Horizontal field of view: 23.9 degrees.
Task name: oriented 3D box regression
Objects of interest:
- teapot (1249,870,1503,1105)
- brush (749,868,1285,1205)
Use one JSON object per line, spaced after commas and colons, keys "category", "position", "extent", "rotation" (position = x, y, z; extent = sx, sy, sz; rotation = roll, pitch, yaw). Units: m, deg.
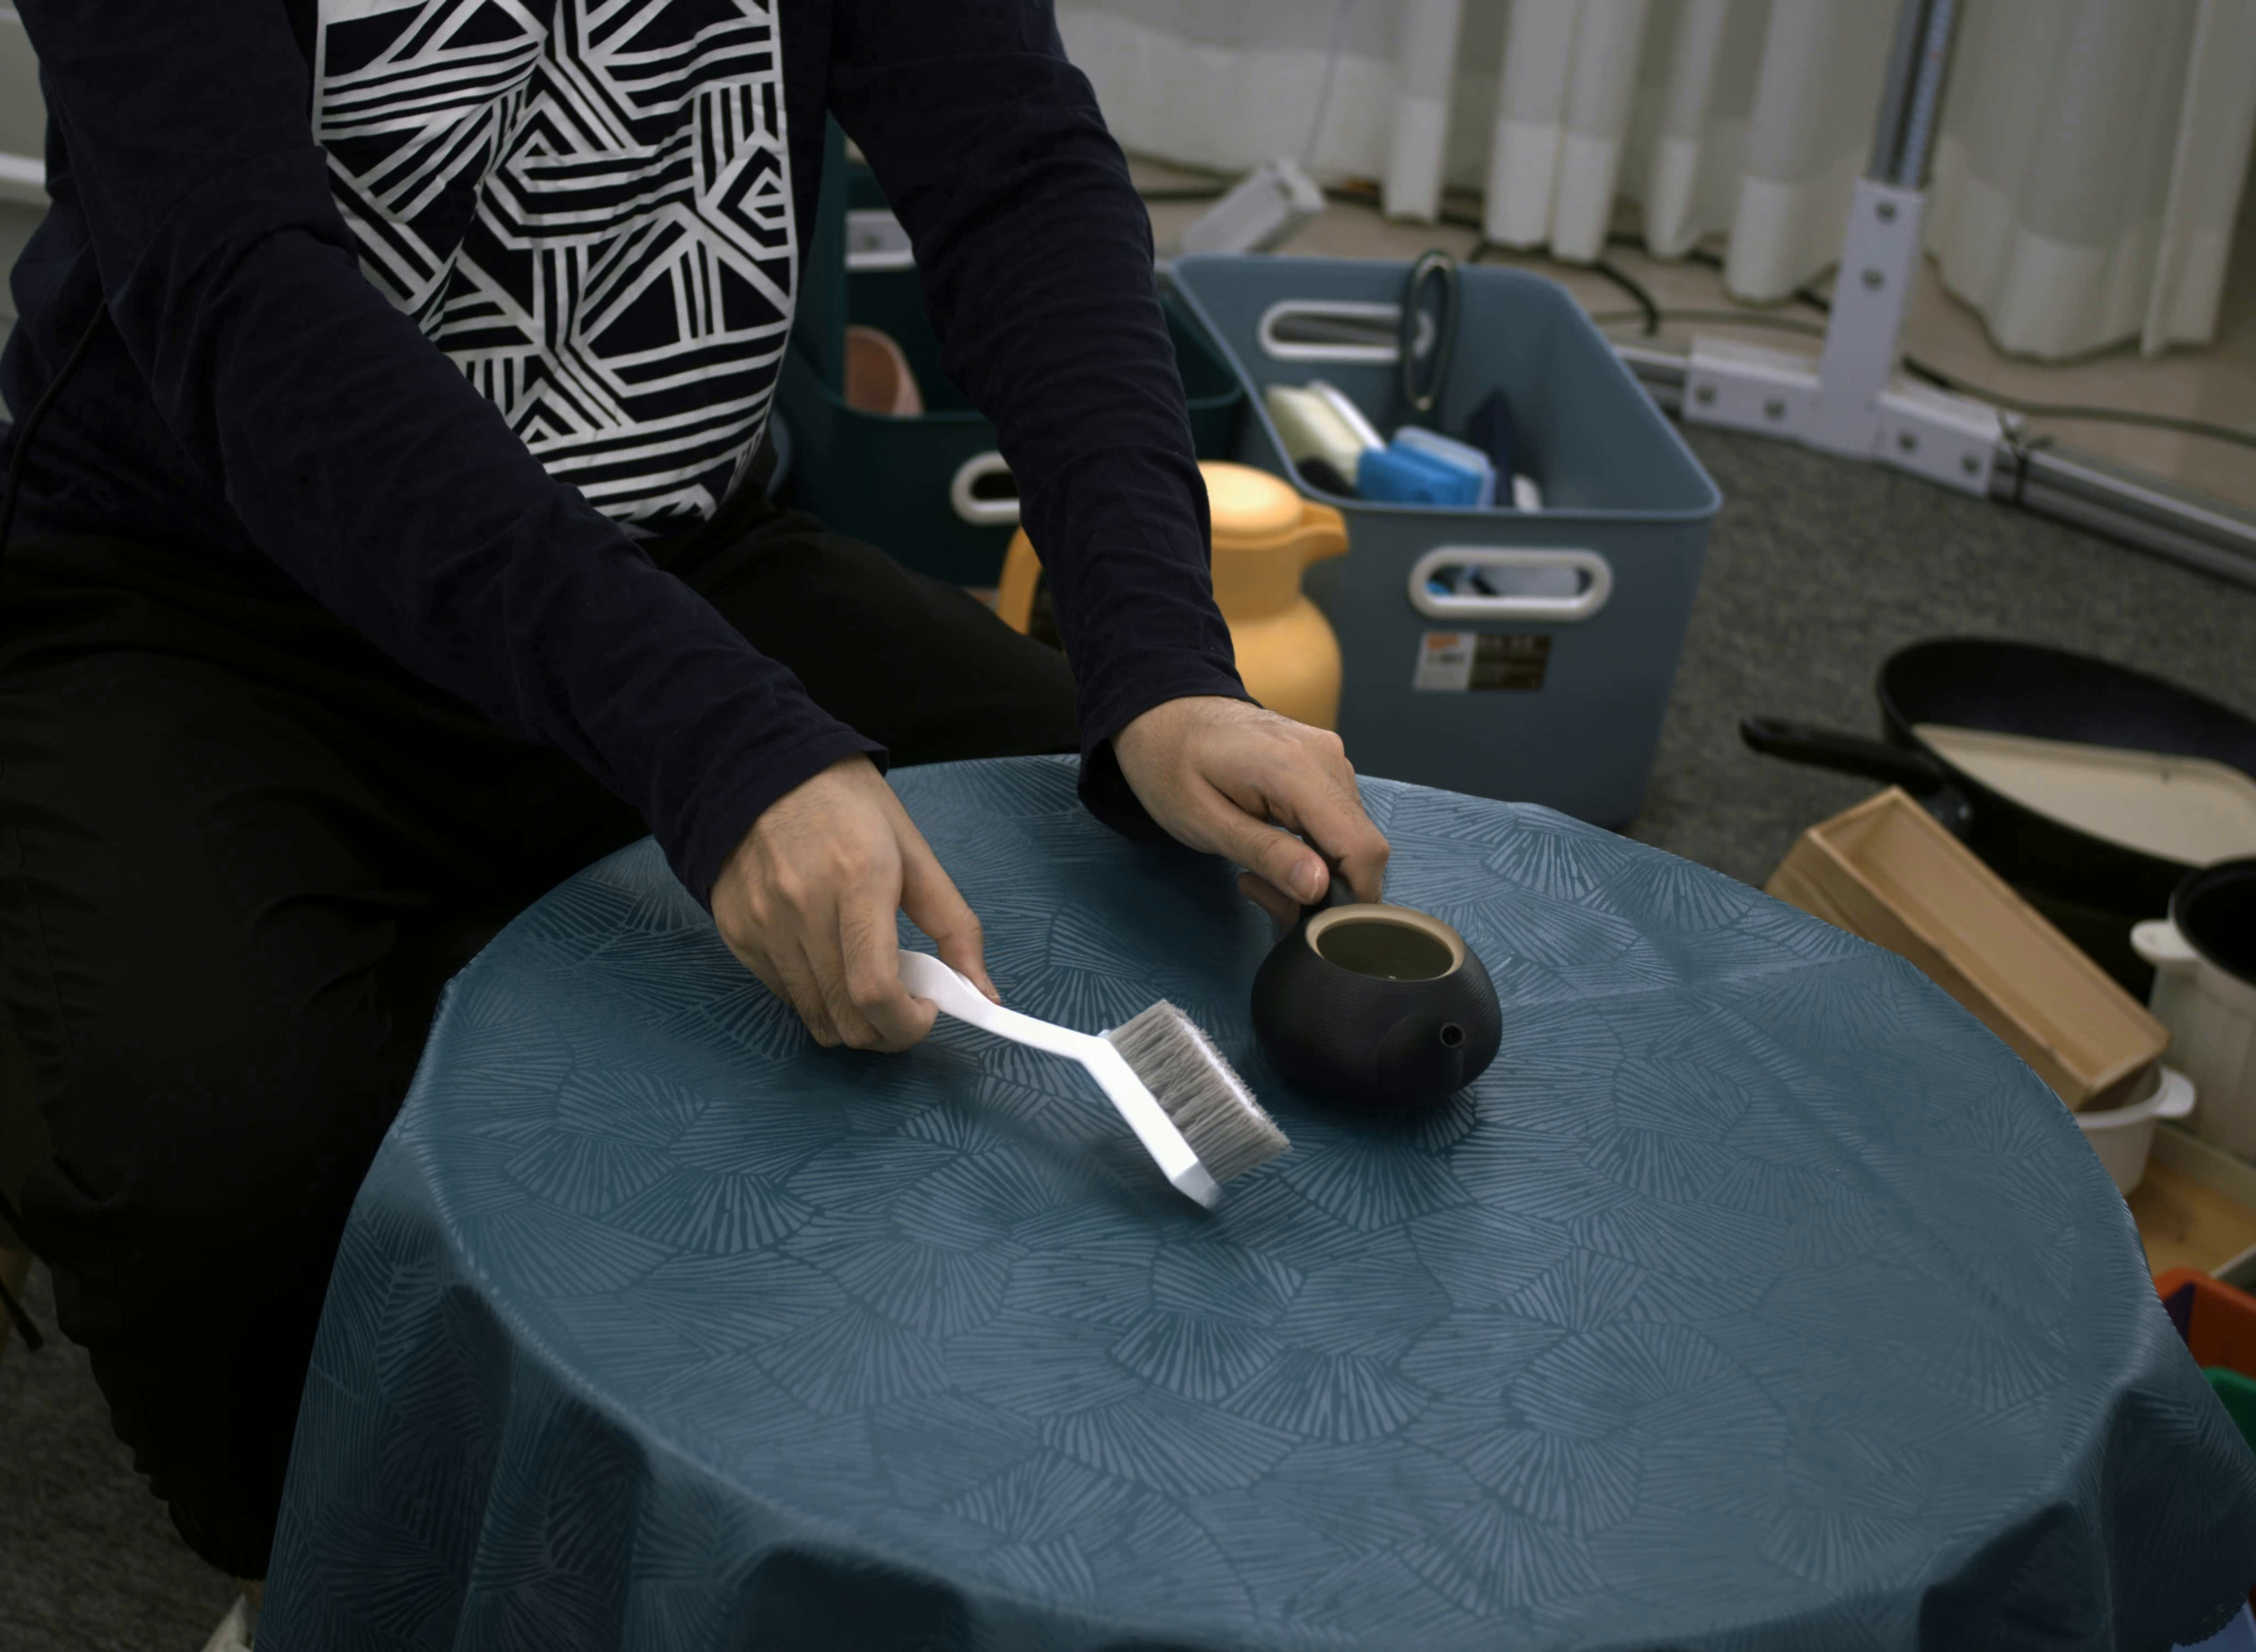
{"category": "teapot", "position": [0.088, 0.063, 1.886], "extent": [0.090, 0.053, 0.134], "rotation": [-1, 28, -22]}
{"category": "brush", "position": [-0.041, 0.056, 1.851], "extent": [0.245, 0.050, 0.034], "rotation": [33, 7, 35]}
